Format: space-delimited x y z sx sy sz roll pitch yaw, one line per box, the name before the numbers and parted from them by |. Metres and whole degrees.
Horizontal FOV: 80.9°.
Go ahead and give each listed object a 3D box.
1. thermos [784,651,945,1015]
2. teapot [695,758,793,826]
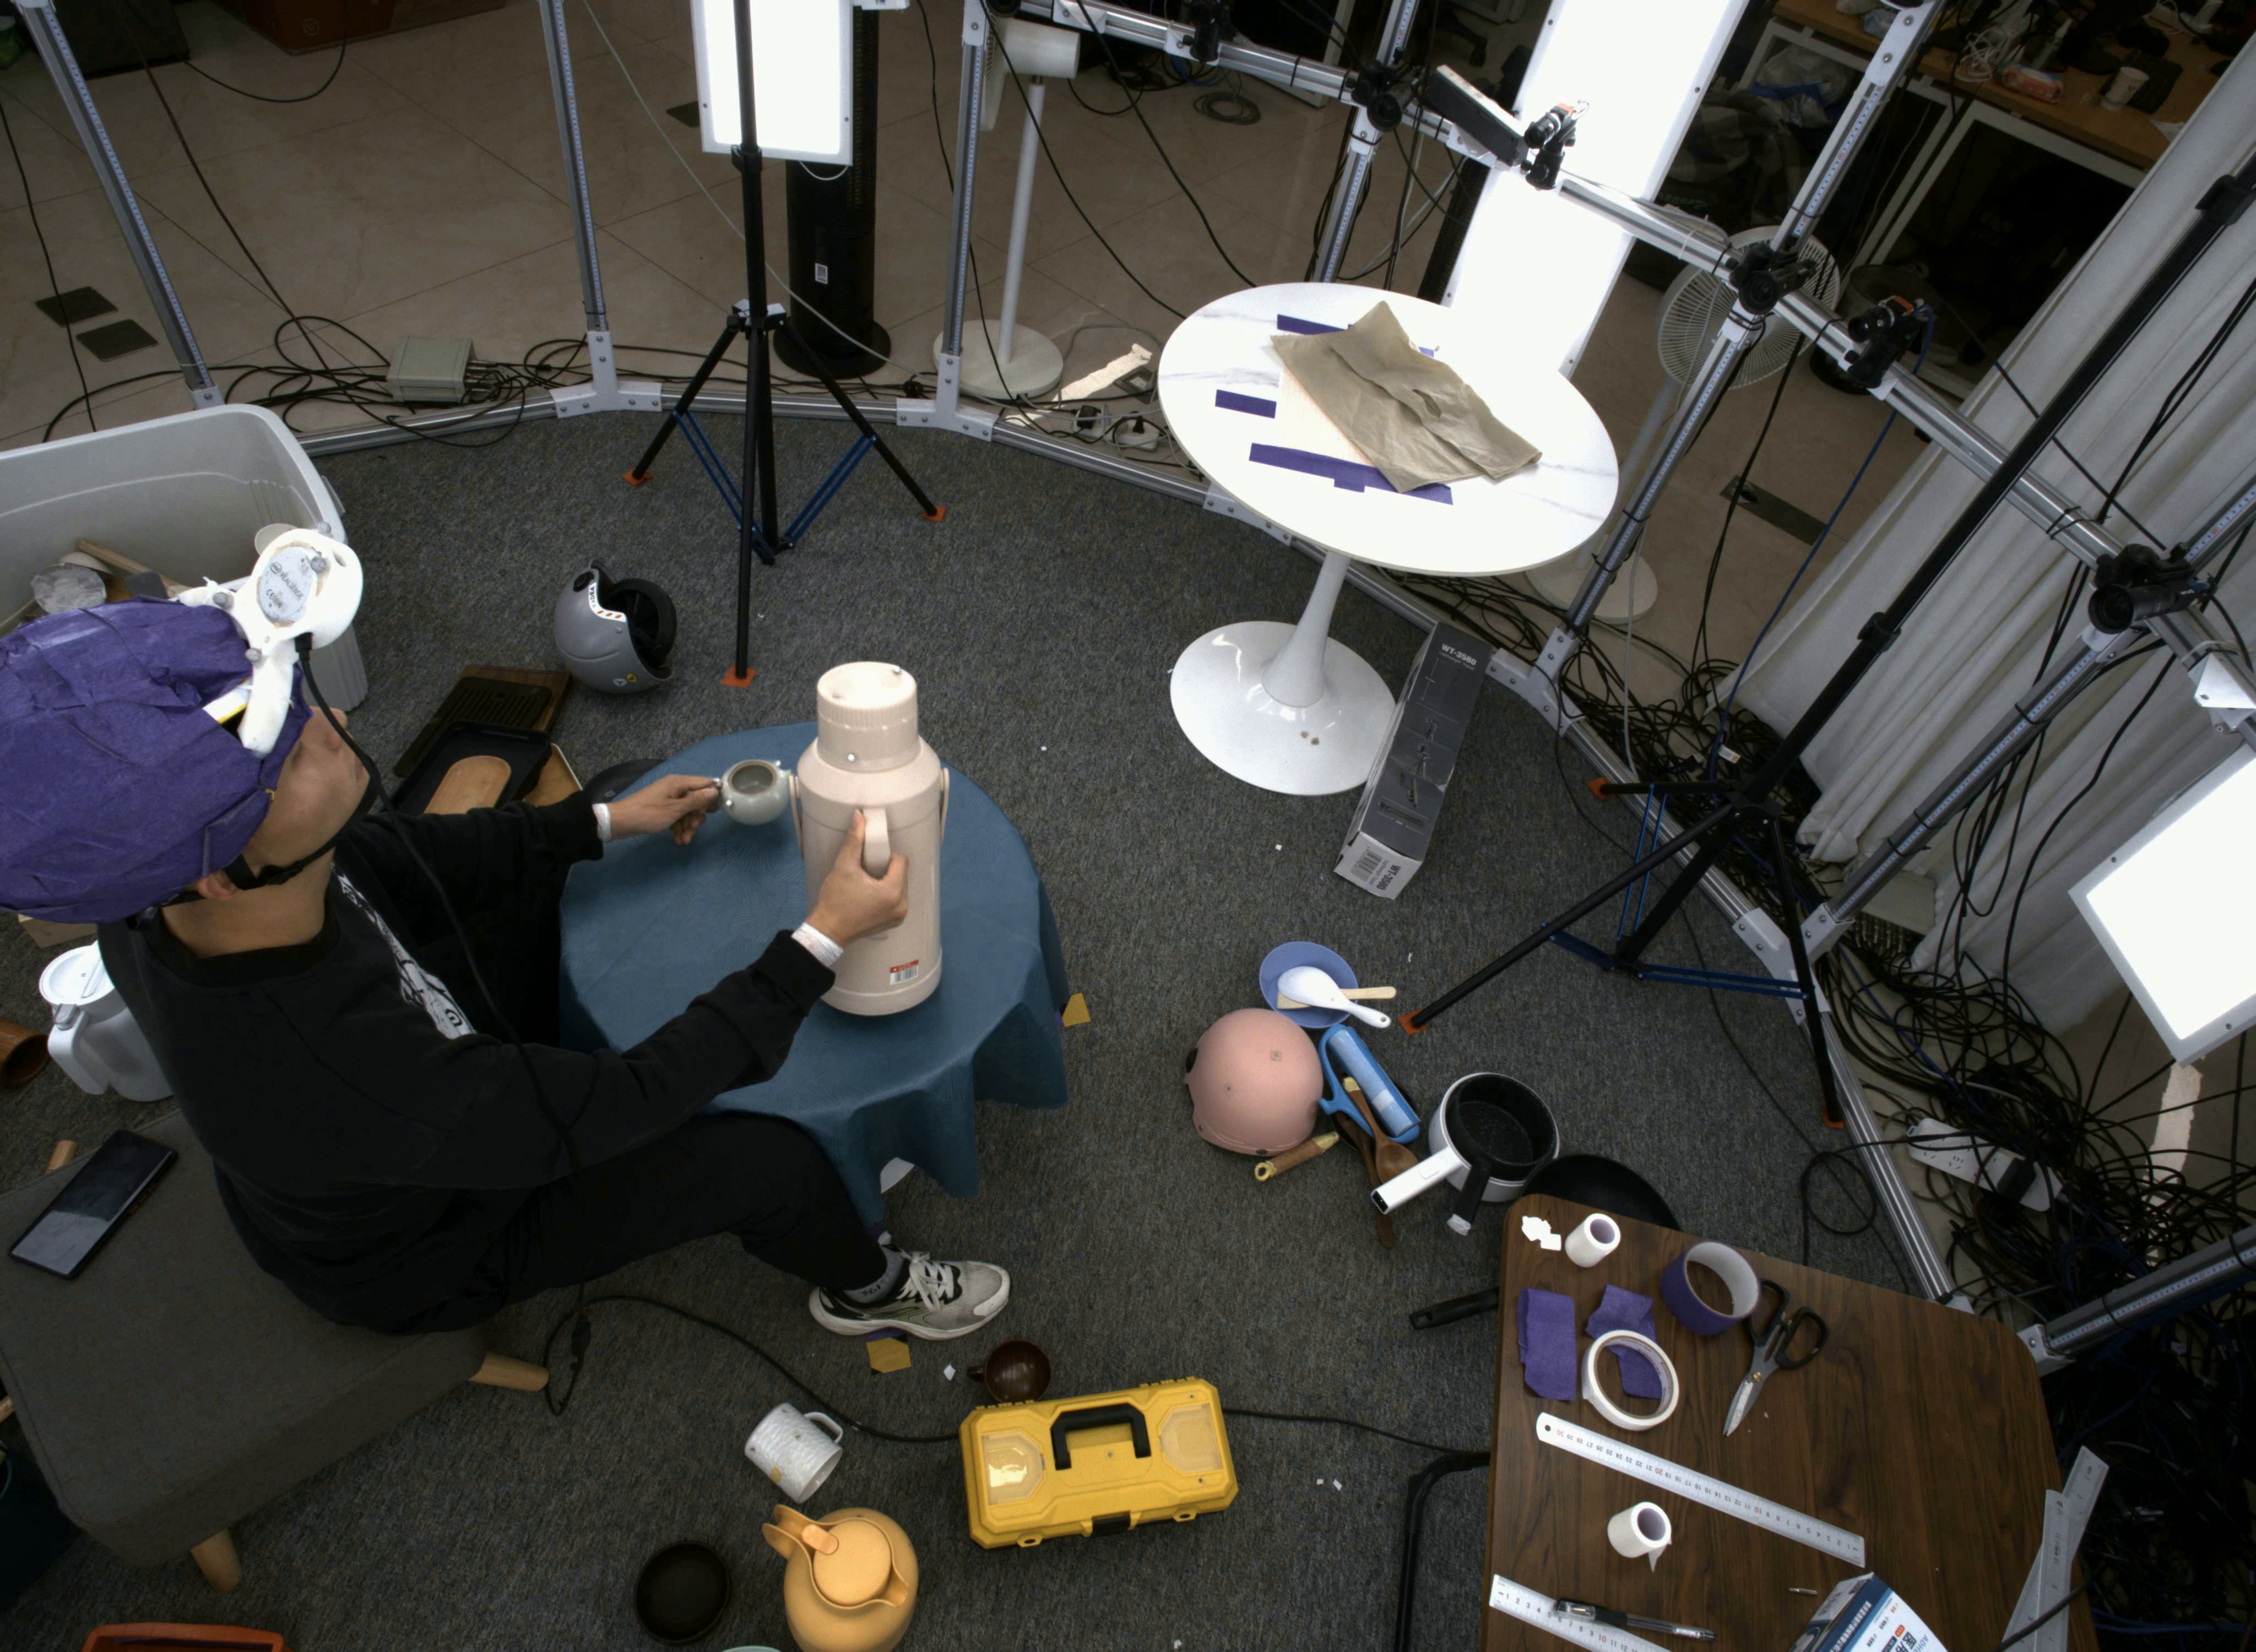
thermos | -0.293 0.019 1.460 0.176 0.418 0.200 -4 36 -15
teapot | -0.491 -0.042 1.660 0.128 0.061 0.089 -12 56 -19
